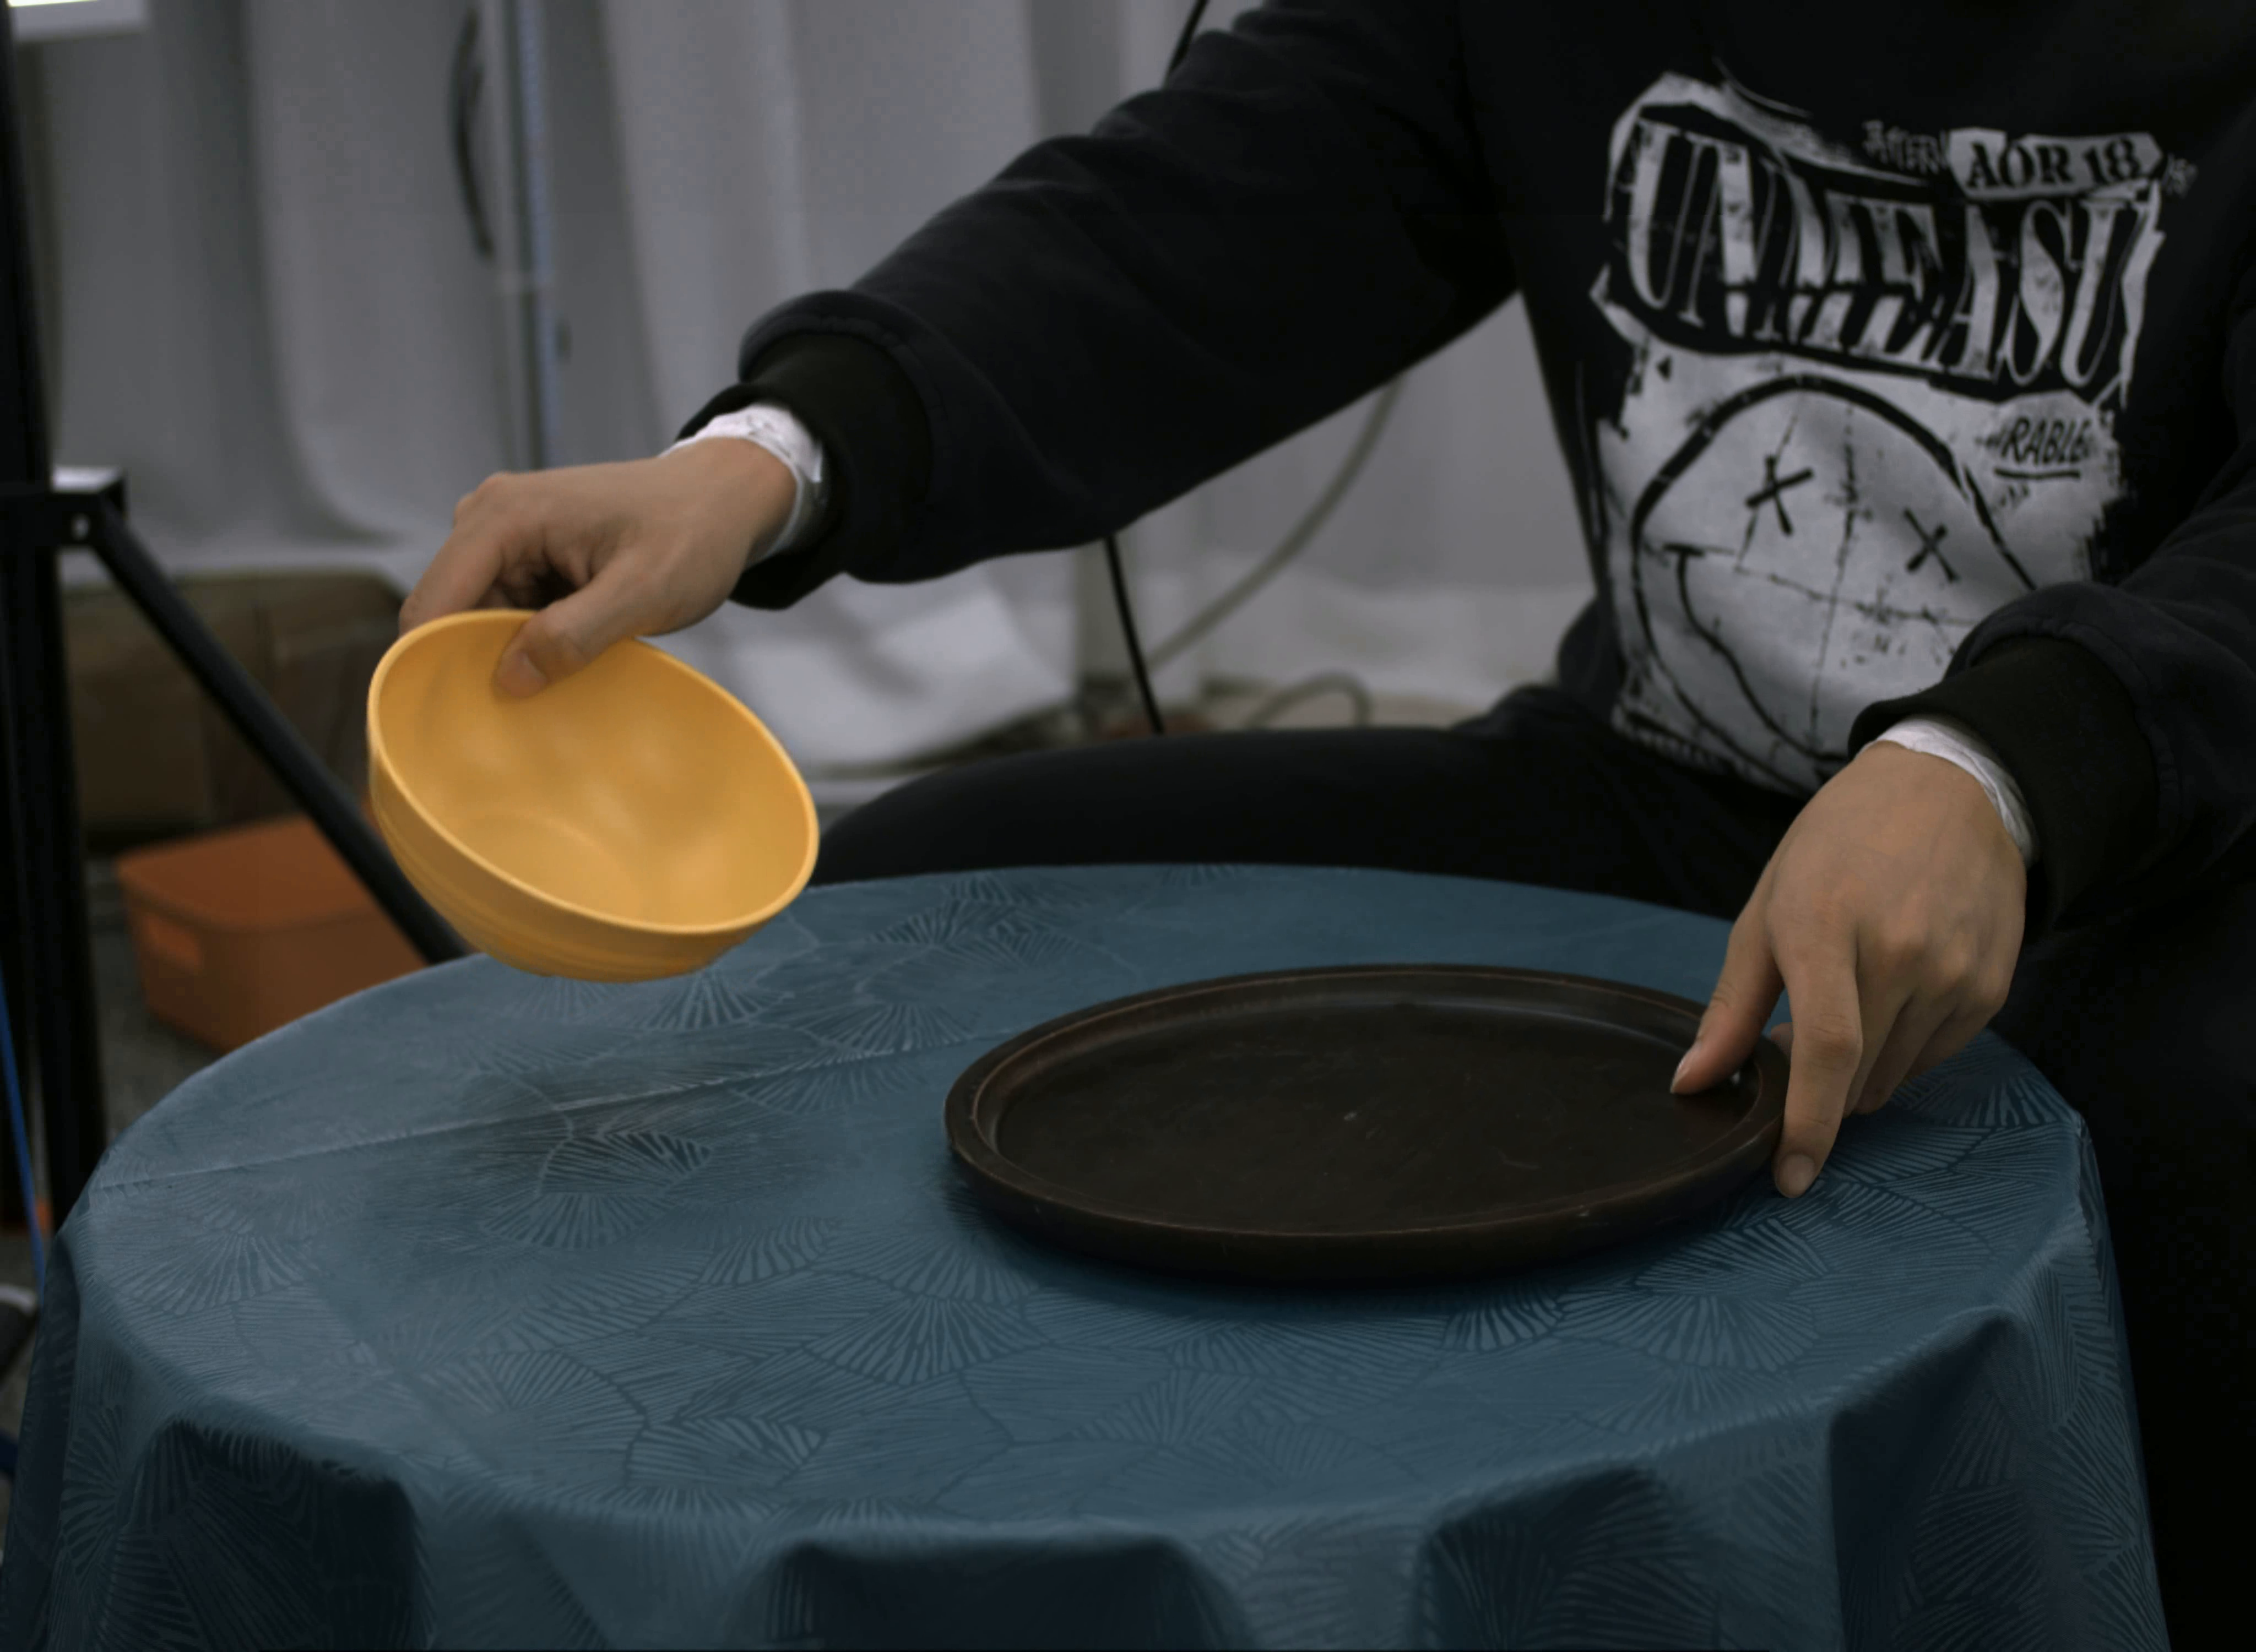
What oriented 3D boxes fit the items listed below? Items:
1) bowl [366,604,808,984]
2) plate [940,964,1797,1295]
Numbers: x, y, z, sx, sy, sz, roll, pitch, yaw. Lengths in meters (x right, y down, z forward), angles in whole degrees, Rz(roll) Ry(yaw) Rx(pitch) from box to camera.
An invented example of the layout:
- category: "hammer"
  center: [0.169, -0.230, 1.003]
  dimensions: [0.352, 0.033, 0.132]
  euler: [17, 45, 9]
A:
- category: "bowl"
  center: [-0.174, 0.002, 1.627]
  dimensions: [0.143, 0.060, 0.147]
  euler: [21, 33, -16]
- category: "plate"
  center: [0.071, 0.088, 1.570]
  dimensions: [0.253, 0.029, 0.256]
  euler: [-5, 14, 0]
